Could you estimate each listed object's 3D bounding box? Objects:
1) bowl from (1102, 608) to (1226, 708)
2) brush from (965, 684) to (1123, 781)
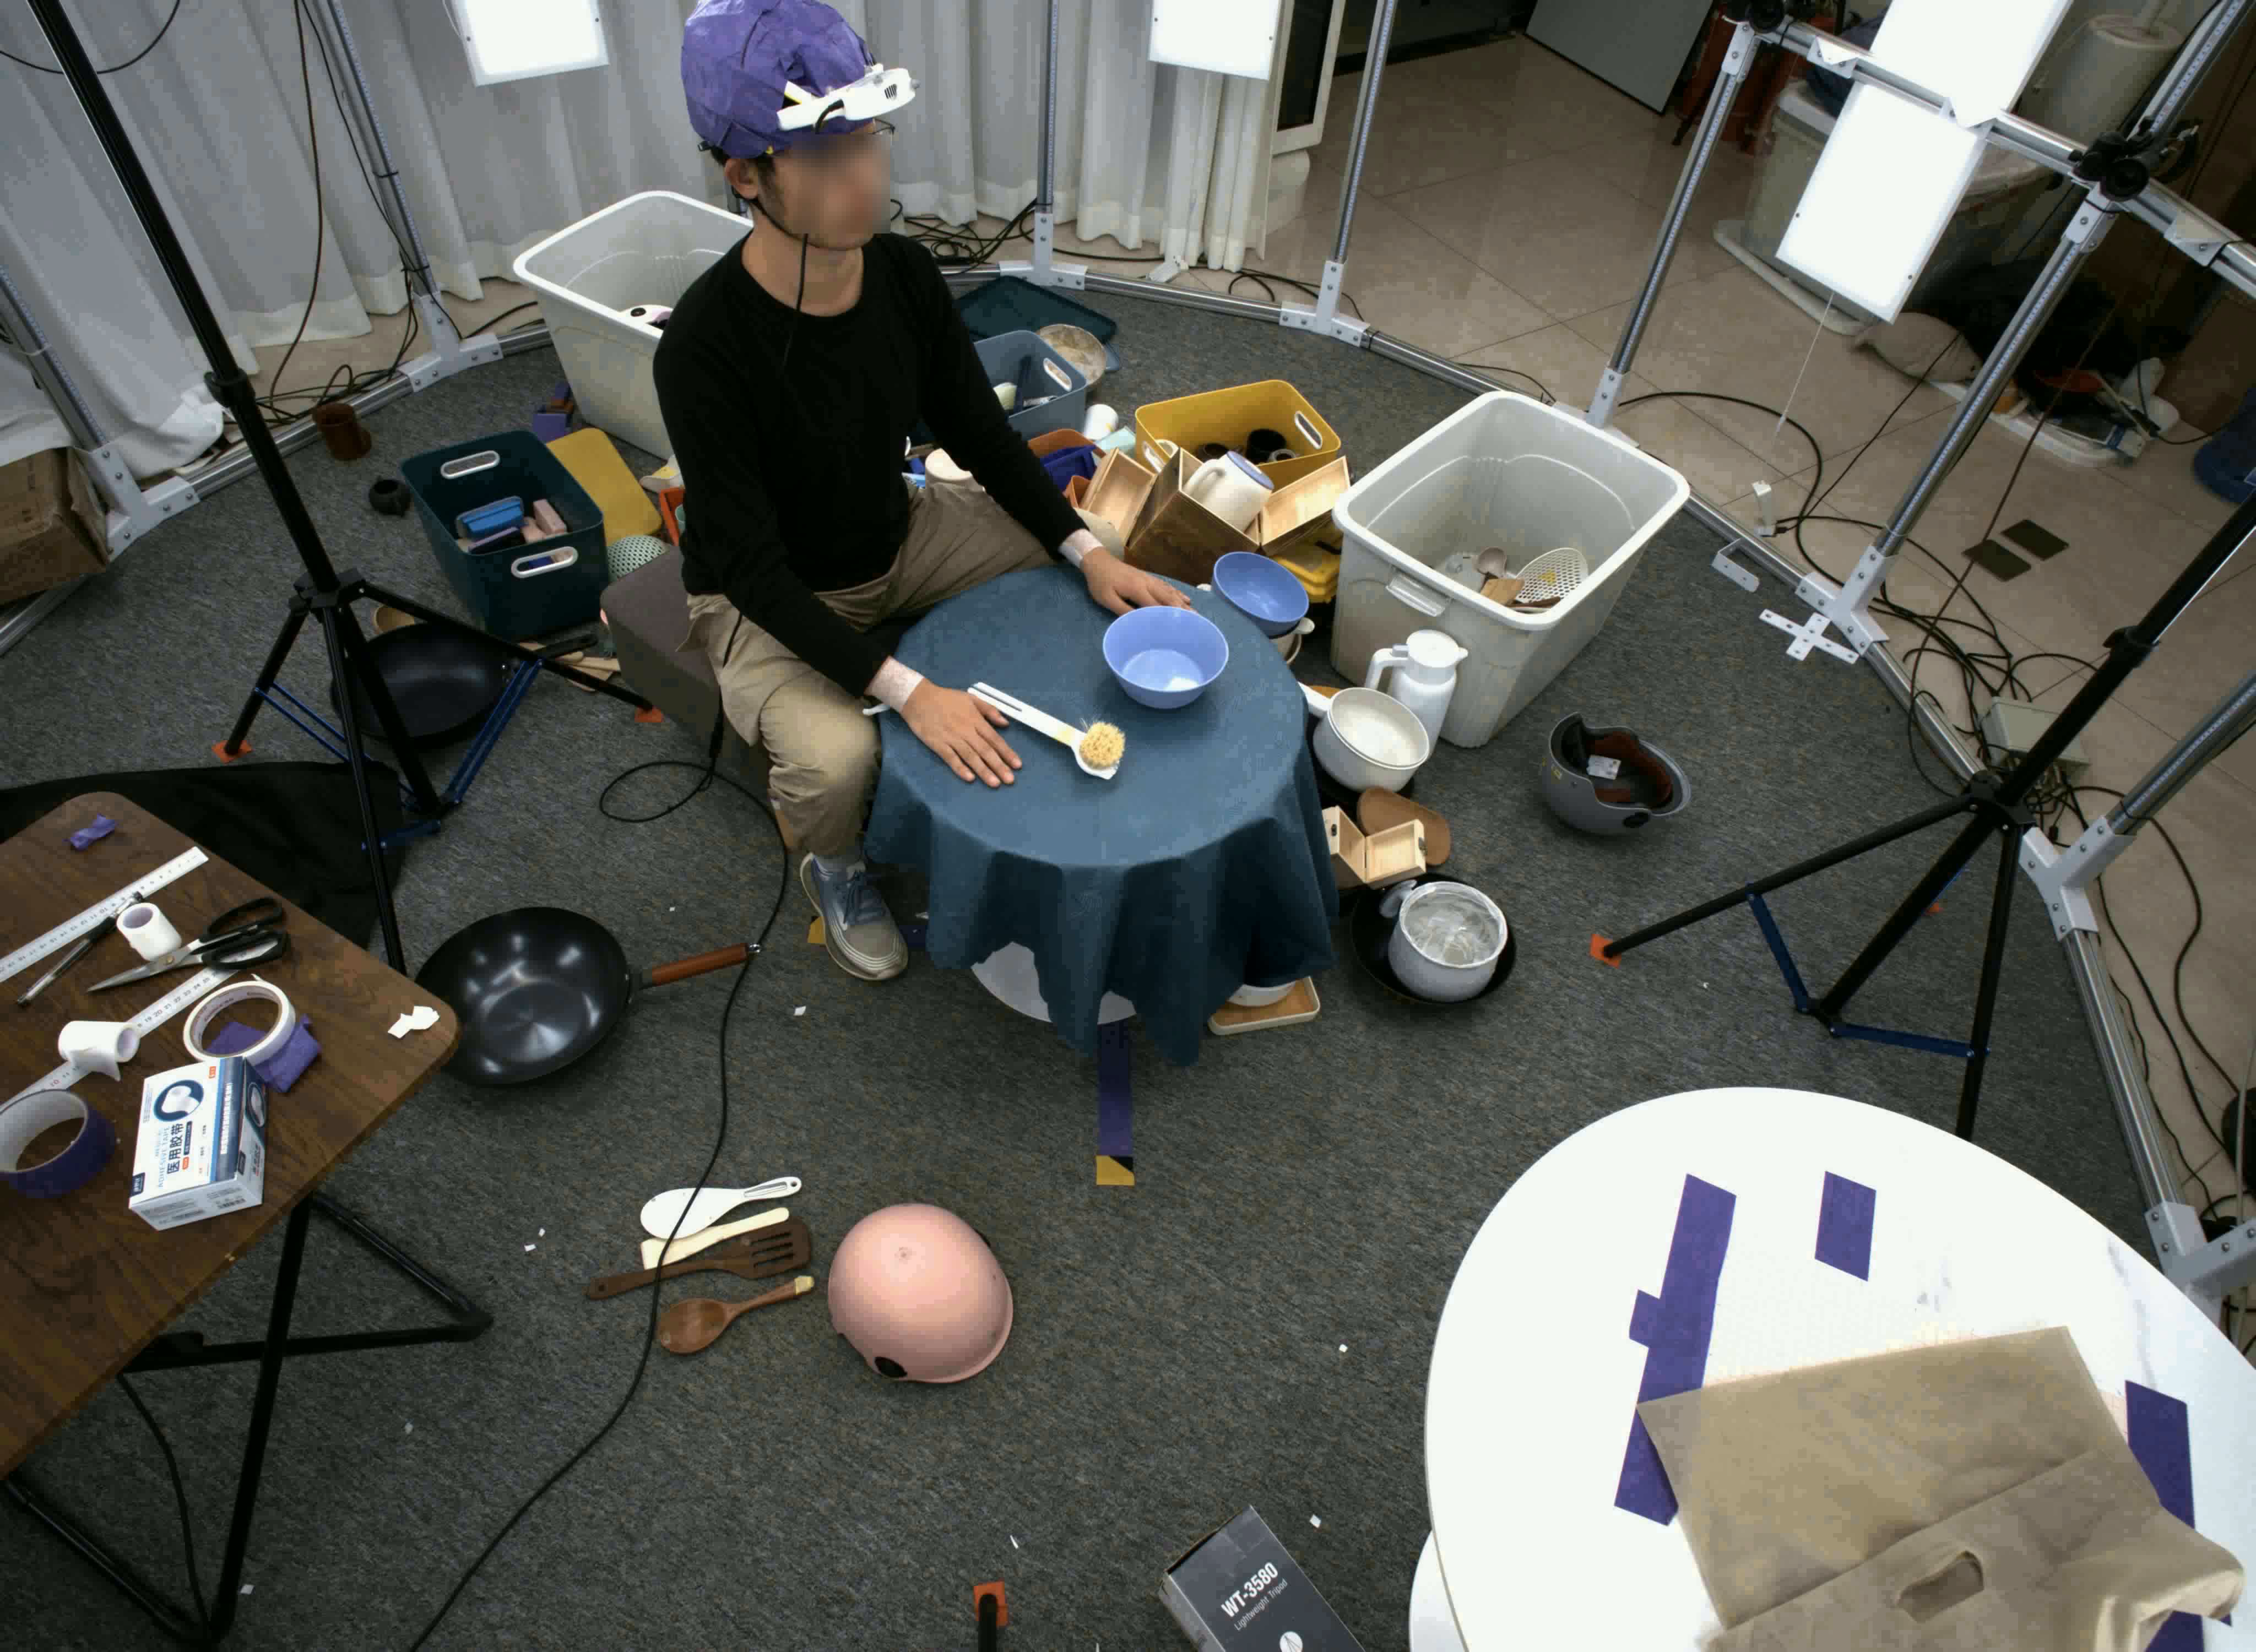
[{"bbox_3d":[0.050,-0.230,1.826,0.176,0.068,0.180,2,48,-2],"label":"bowl"},{"bbox_3d":[-0.121,-0.146,1.754,0.270,0.055,0.069,32,50,23],"label":"brush"}]
